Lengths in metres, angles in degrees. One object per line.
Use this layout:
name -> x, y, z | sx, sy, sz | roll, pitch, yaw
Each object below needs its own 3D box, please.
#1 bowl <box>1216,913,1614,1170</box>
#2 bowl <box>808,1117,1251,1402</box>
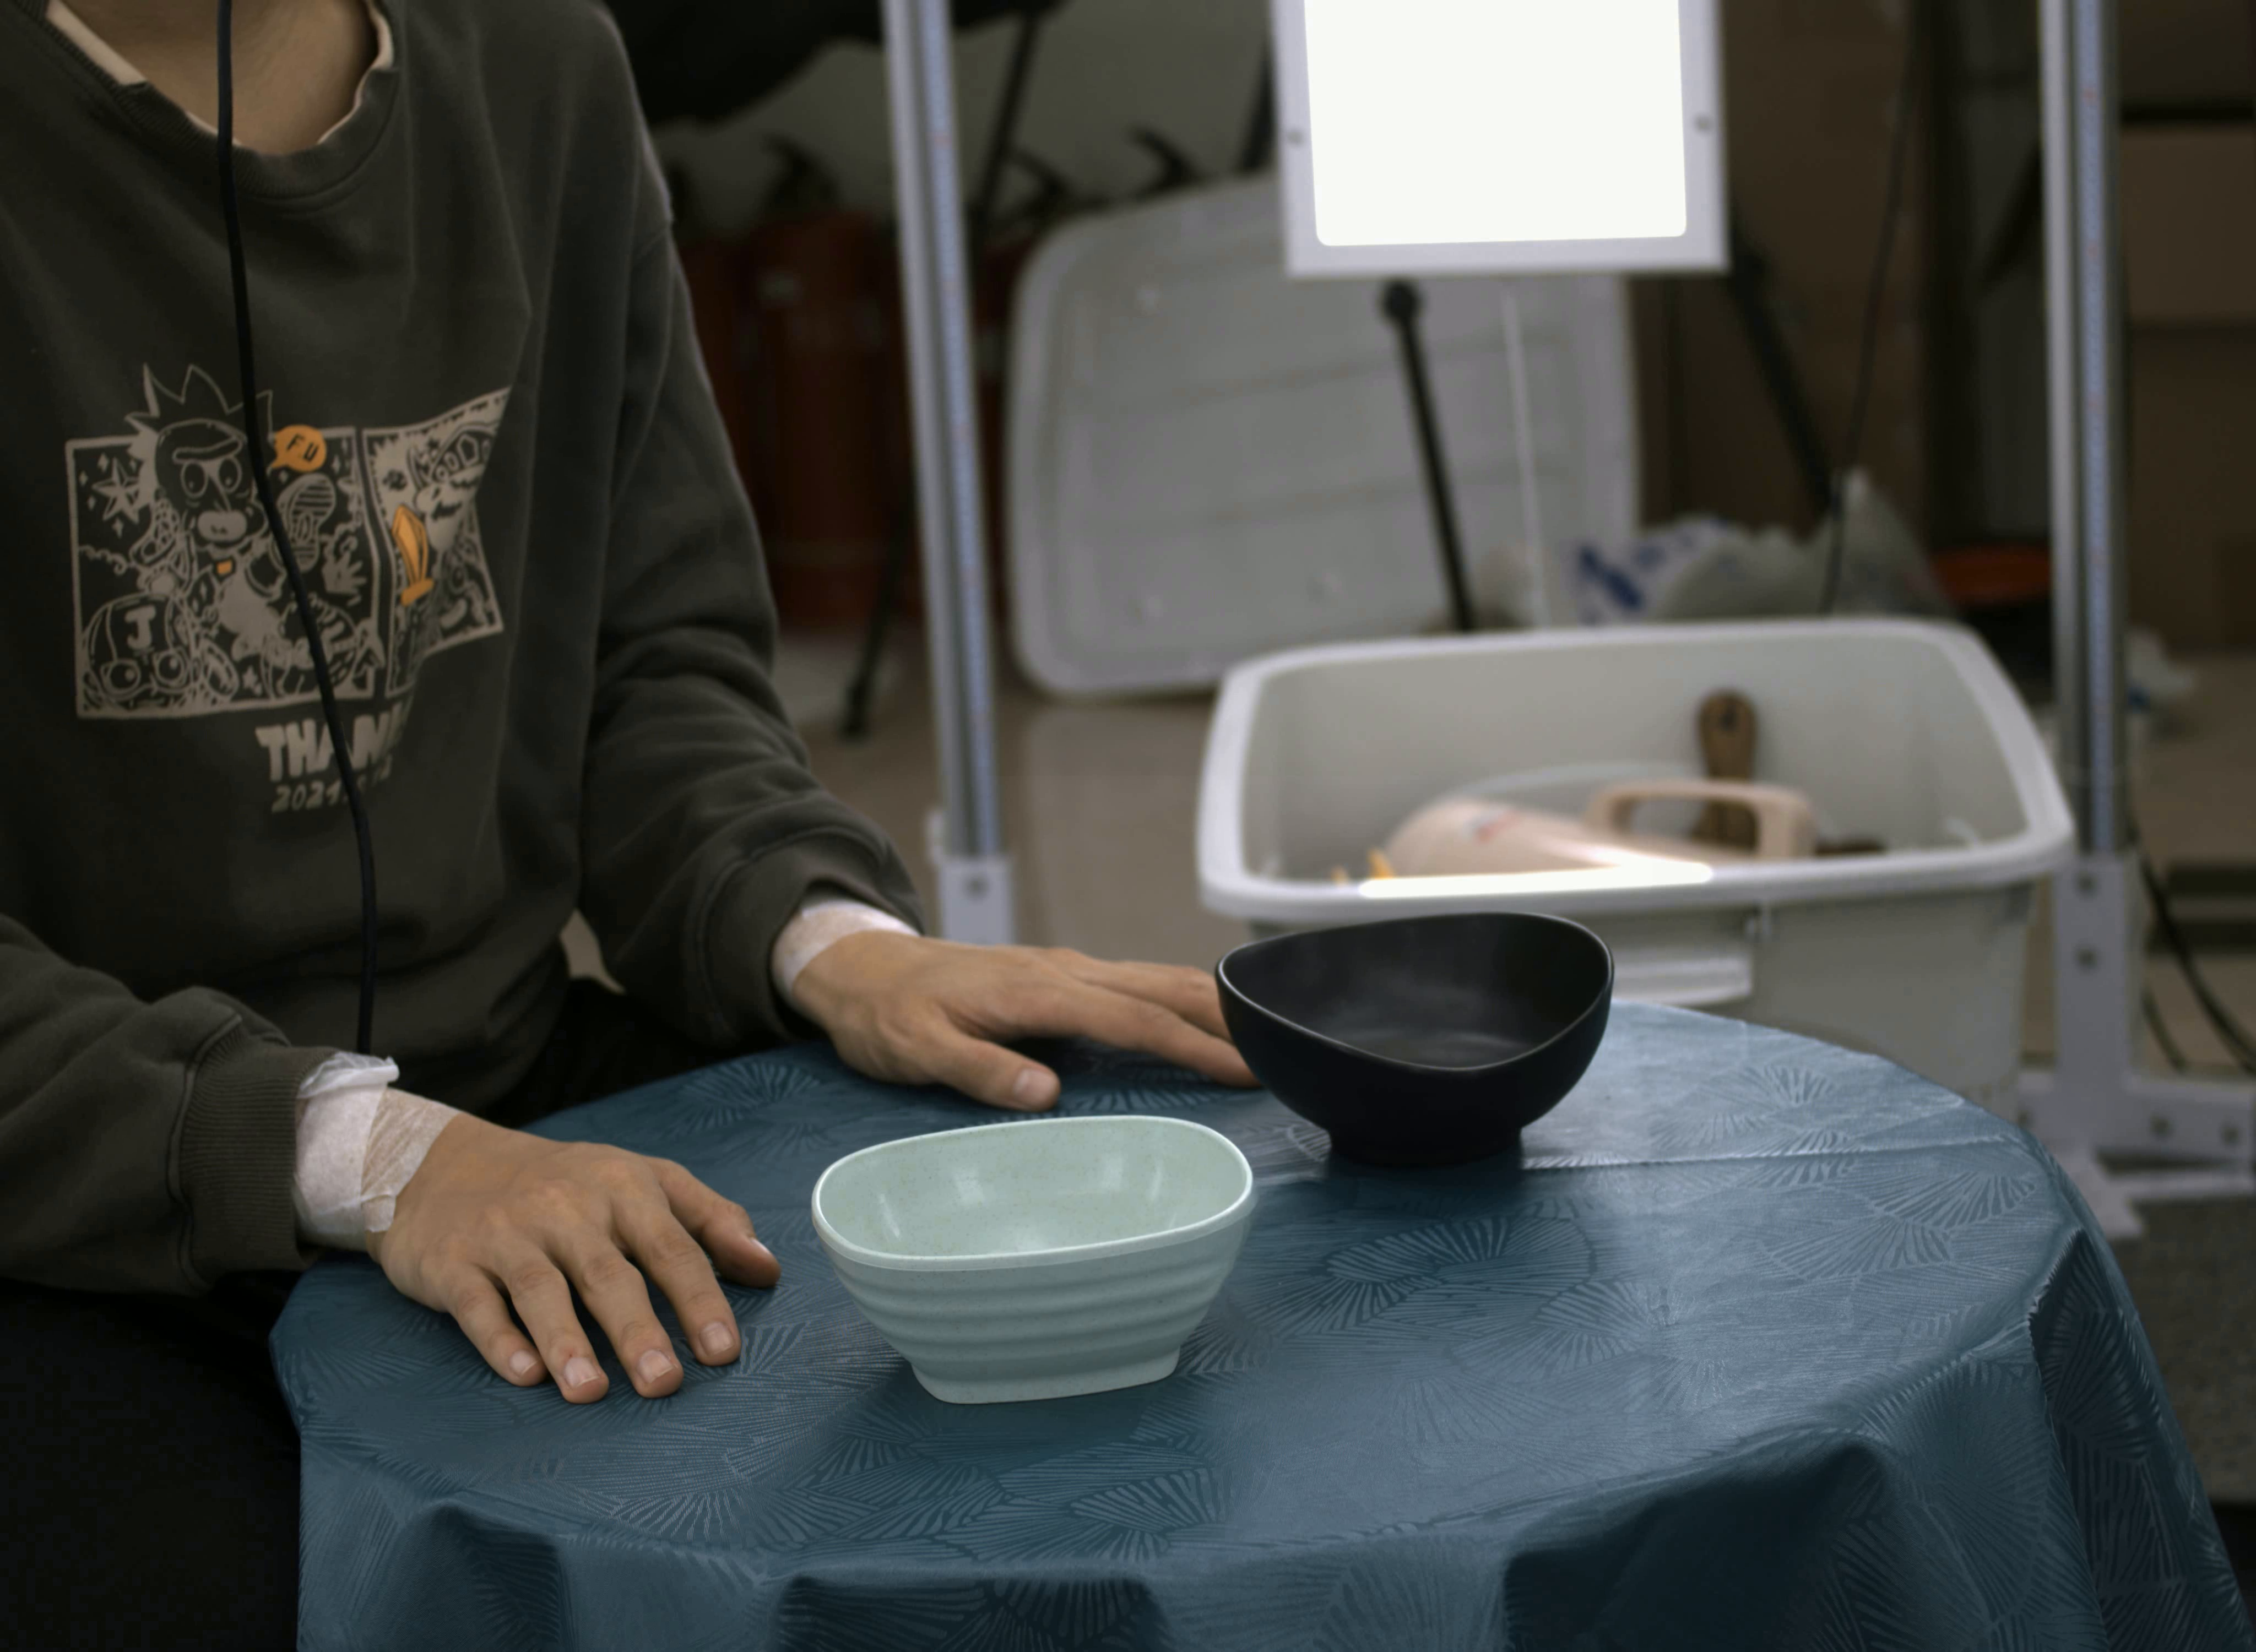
bowl -> 0.103, 0.079, 1.921 | 0.136, 0.067, 0.171 | -8, 16, -11
bowl -> -0.030, 0.139, 1.735 | 0.151, 0.059, 0.151 | -3, 14, -1
